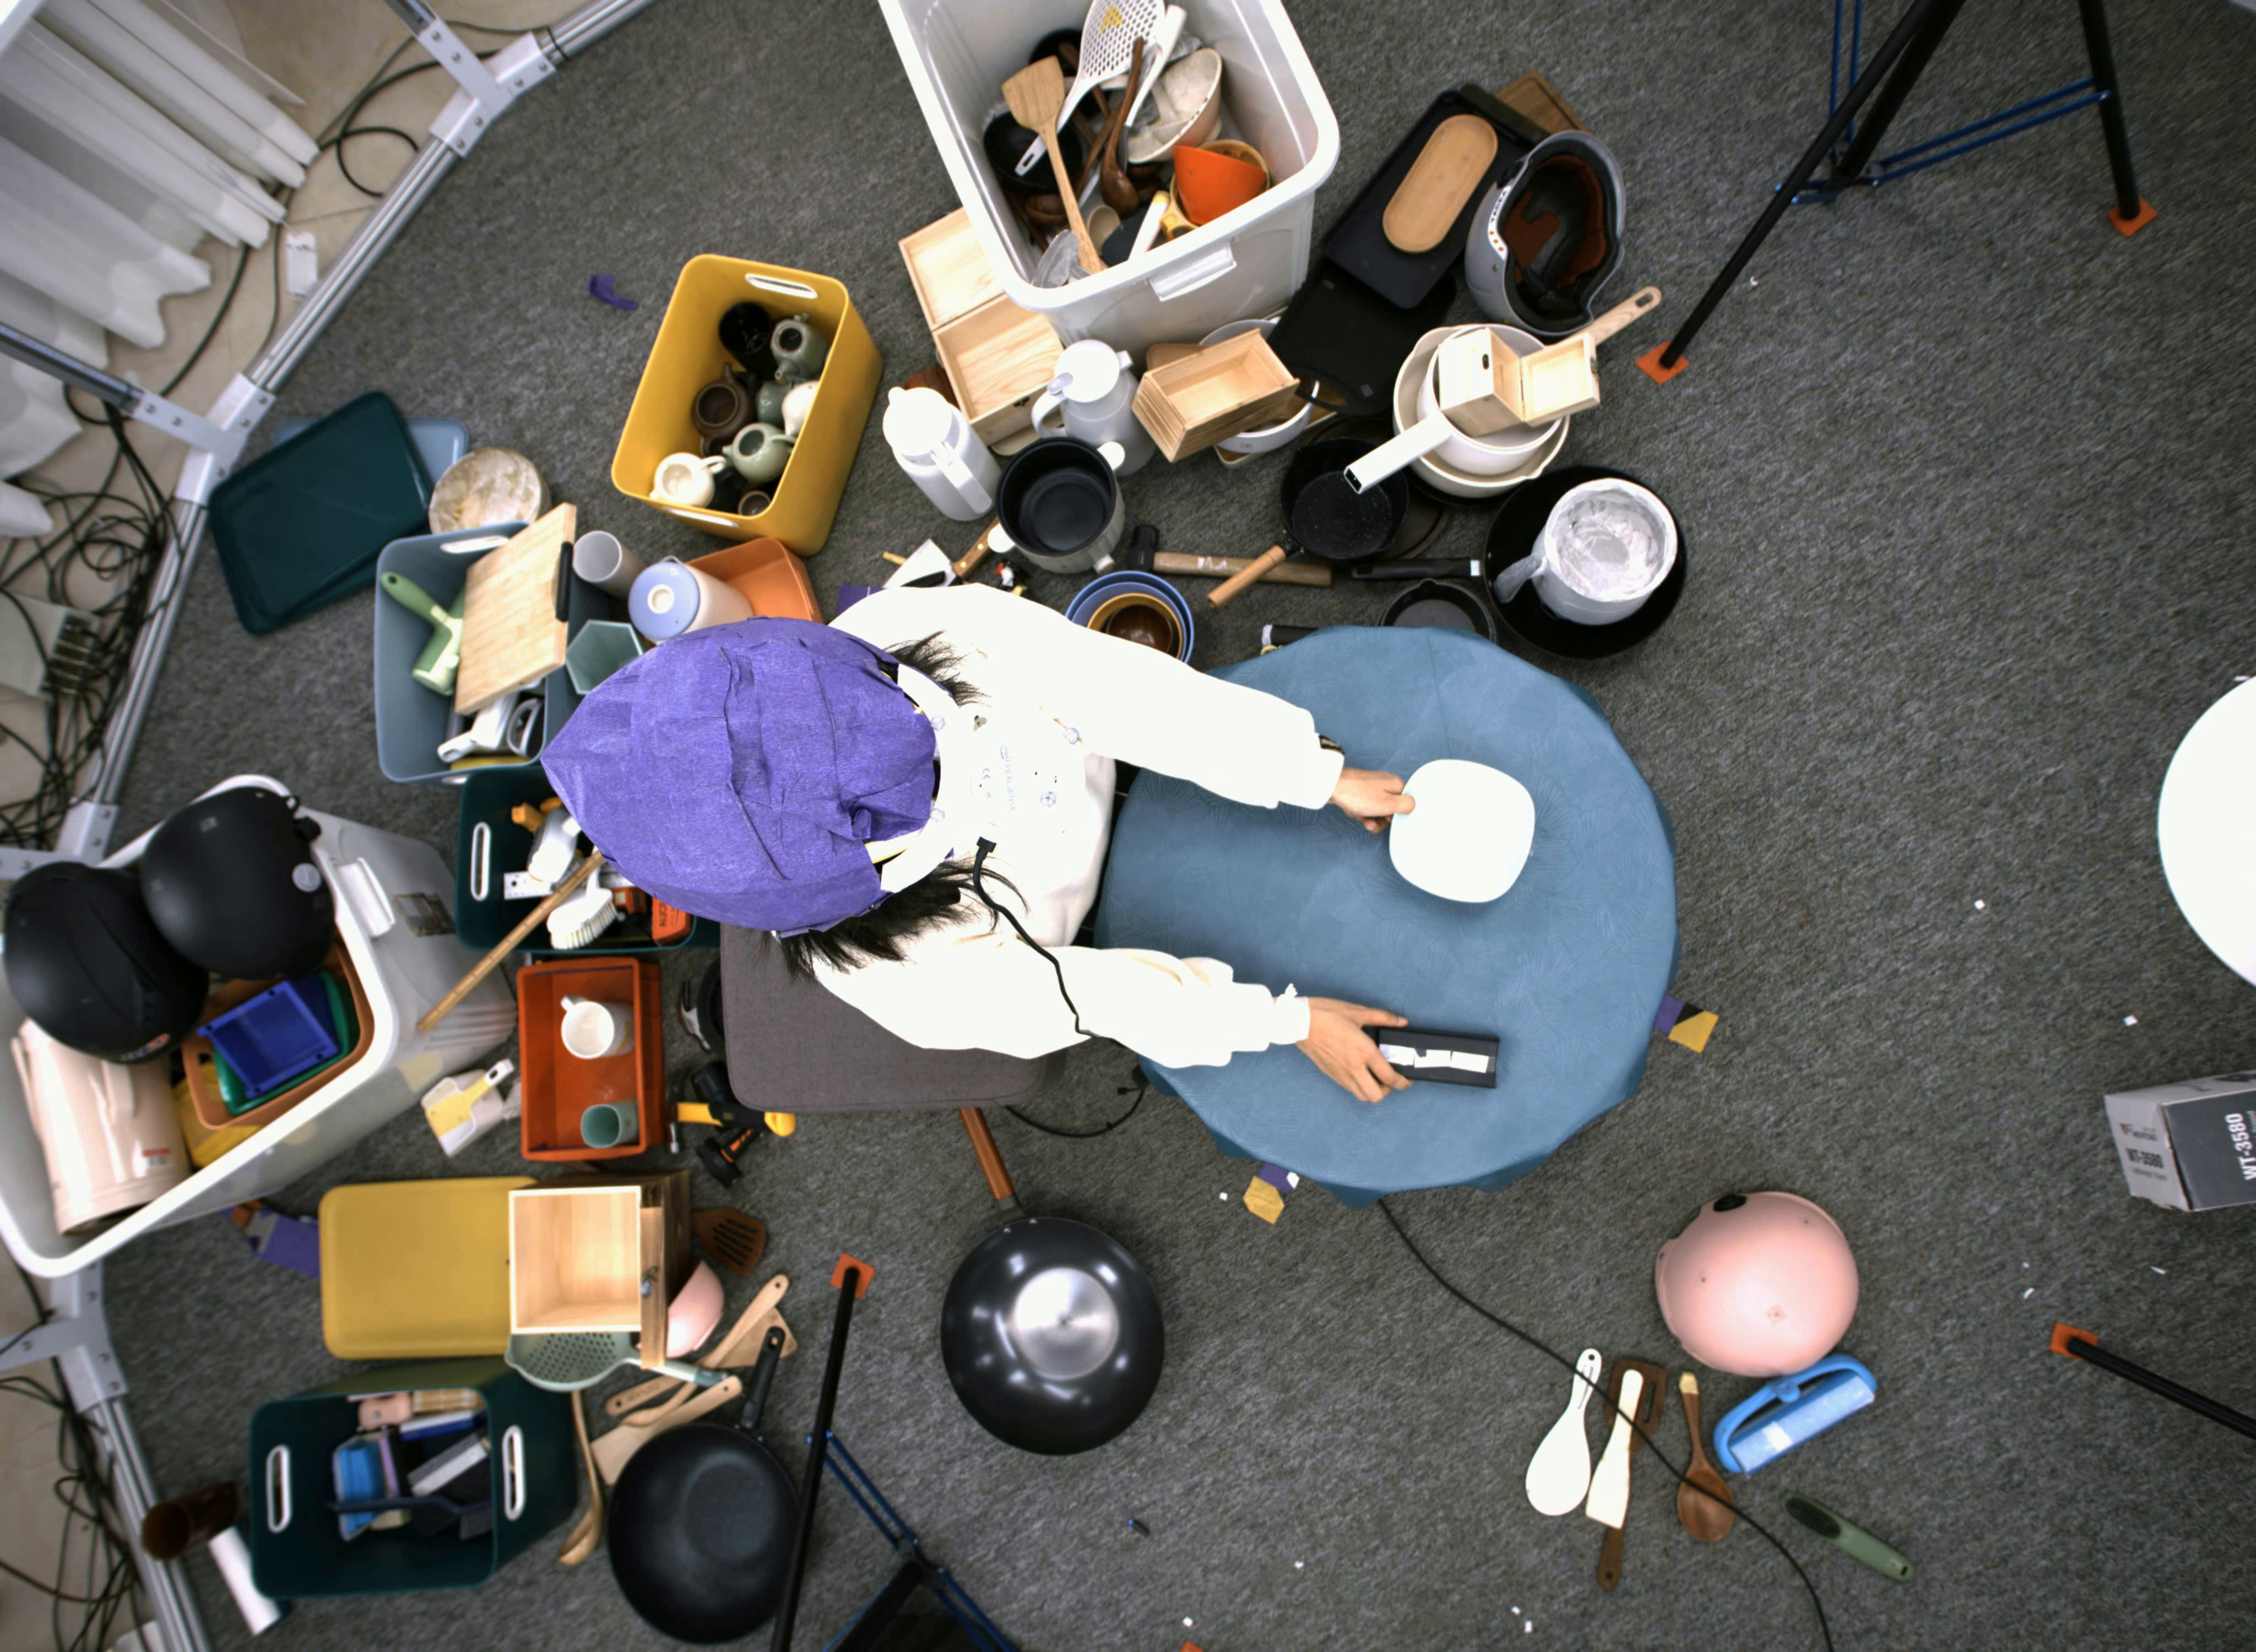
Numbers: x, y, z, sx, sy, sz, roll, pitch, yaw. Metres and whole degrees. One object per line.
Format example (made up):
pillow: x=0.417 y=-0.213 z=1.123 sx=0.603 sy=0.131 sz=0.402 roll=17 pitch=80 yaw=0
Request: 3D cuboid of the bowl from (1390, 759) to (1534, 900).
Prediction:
bowl: x=0.343 y=0.002 z=1.411 sx=0.152 sy=0.058 sz=0.151 roll=0 pitch=92 yaw=15

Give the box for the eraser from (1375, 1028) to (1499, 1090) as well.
eraser: x=0.320 y=0.237 z=1.428 sx=0.126 sy=0.030 sz=0.053 roll=3 pitch=88 yaw=13
